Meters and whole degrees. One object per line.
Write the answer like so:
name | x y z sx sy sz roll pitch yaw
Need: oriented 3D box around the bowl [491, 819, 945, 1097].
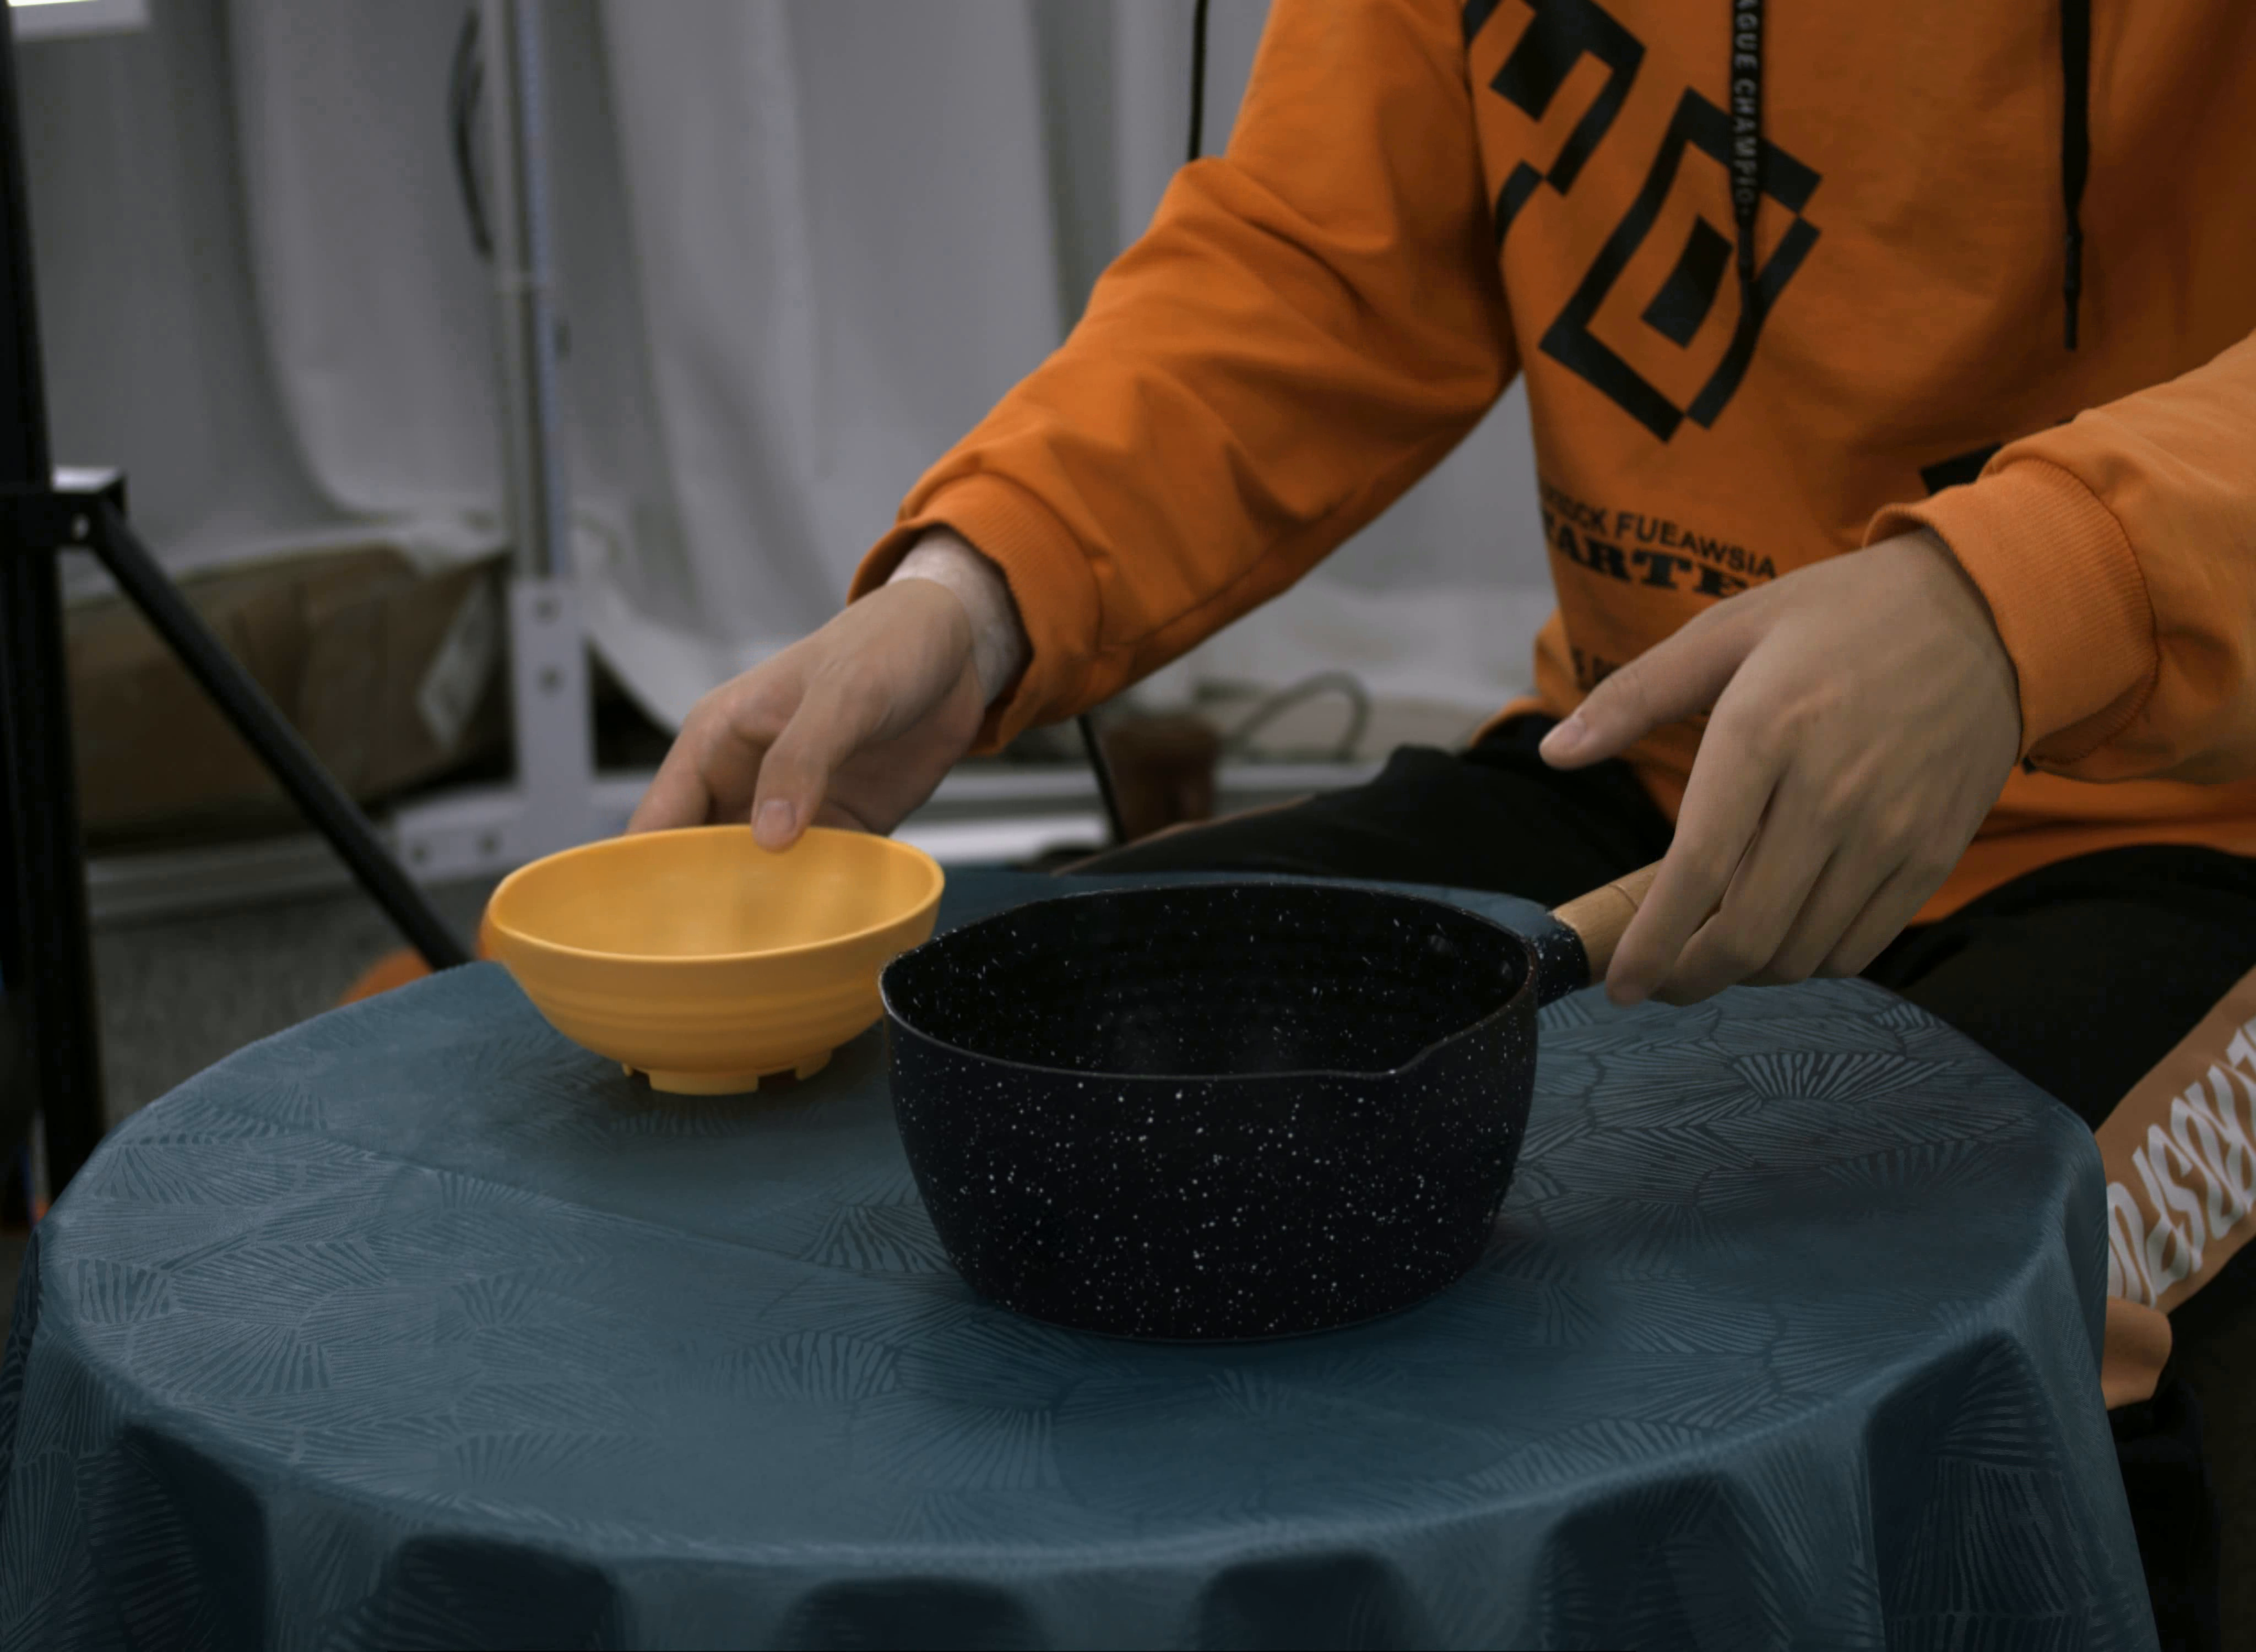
bowl | -0.129 0.047 1.689 0.144 0.060 0.146 -2 17 -1

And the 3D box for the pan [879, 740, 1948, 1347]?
pan | 0.093 0.057 1.525 0.336 0.108 0.212 -12 17 -26
